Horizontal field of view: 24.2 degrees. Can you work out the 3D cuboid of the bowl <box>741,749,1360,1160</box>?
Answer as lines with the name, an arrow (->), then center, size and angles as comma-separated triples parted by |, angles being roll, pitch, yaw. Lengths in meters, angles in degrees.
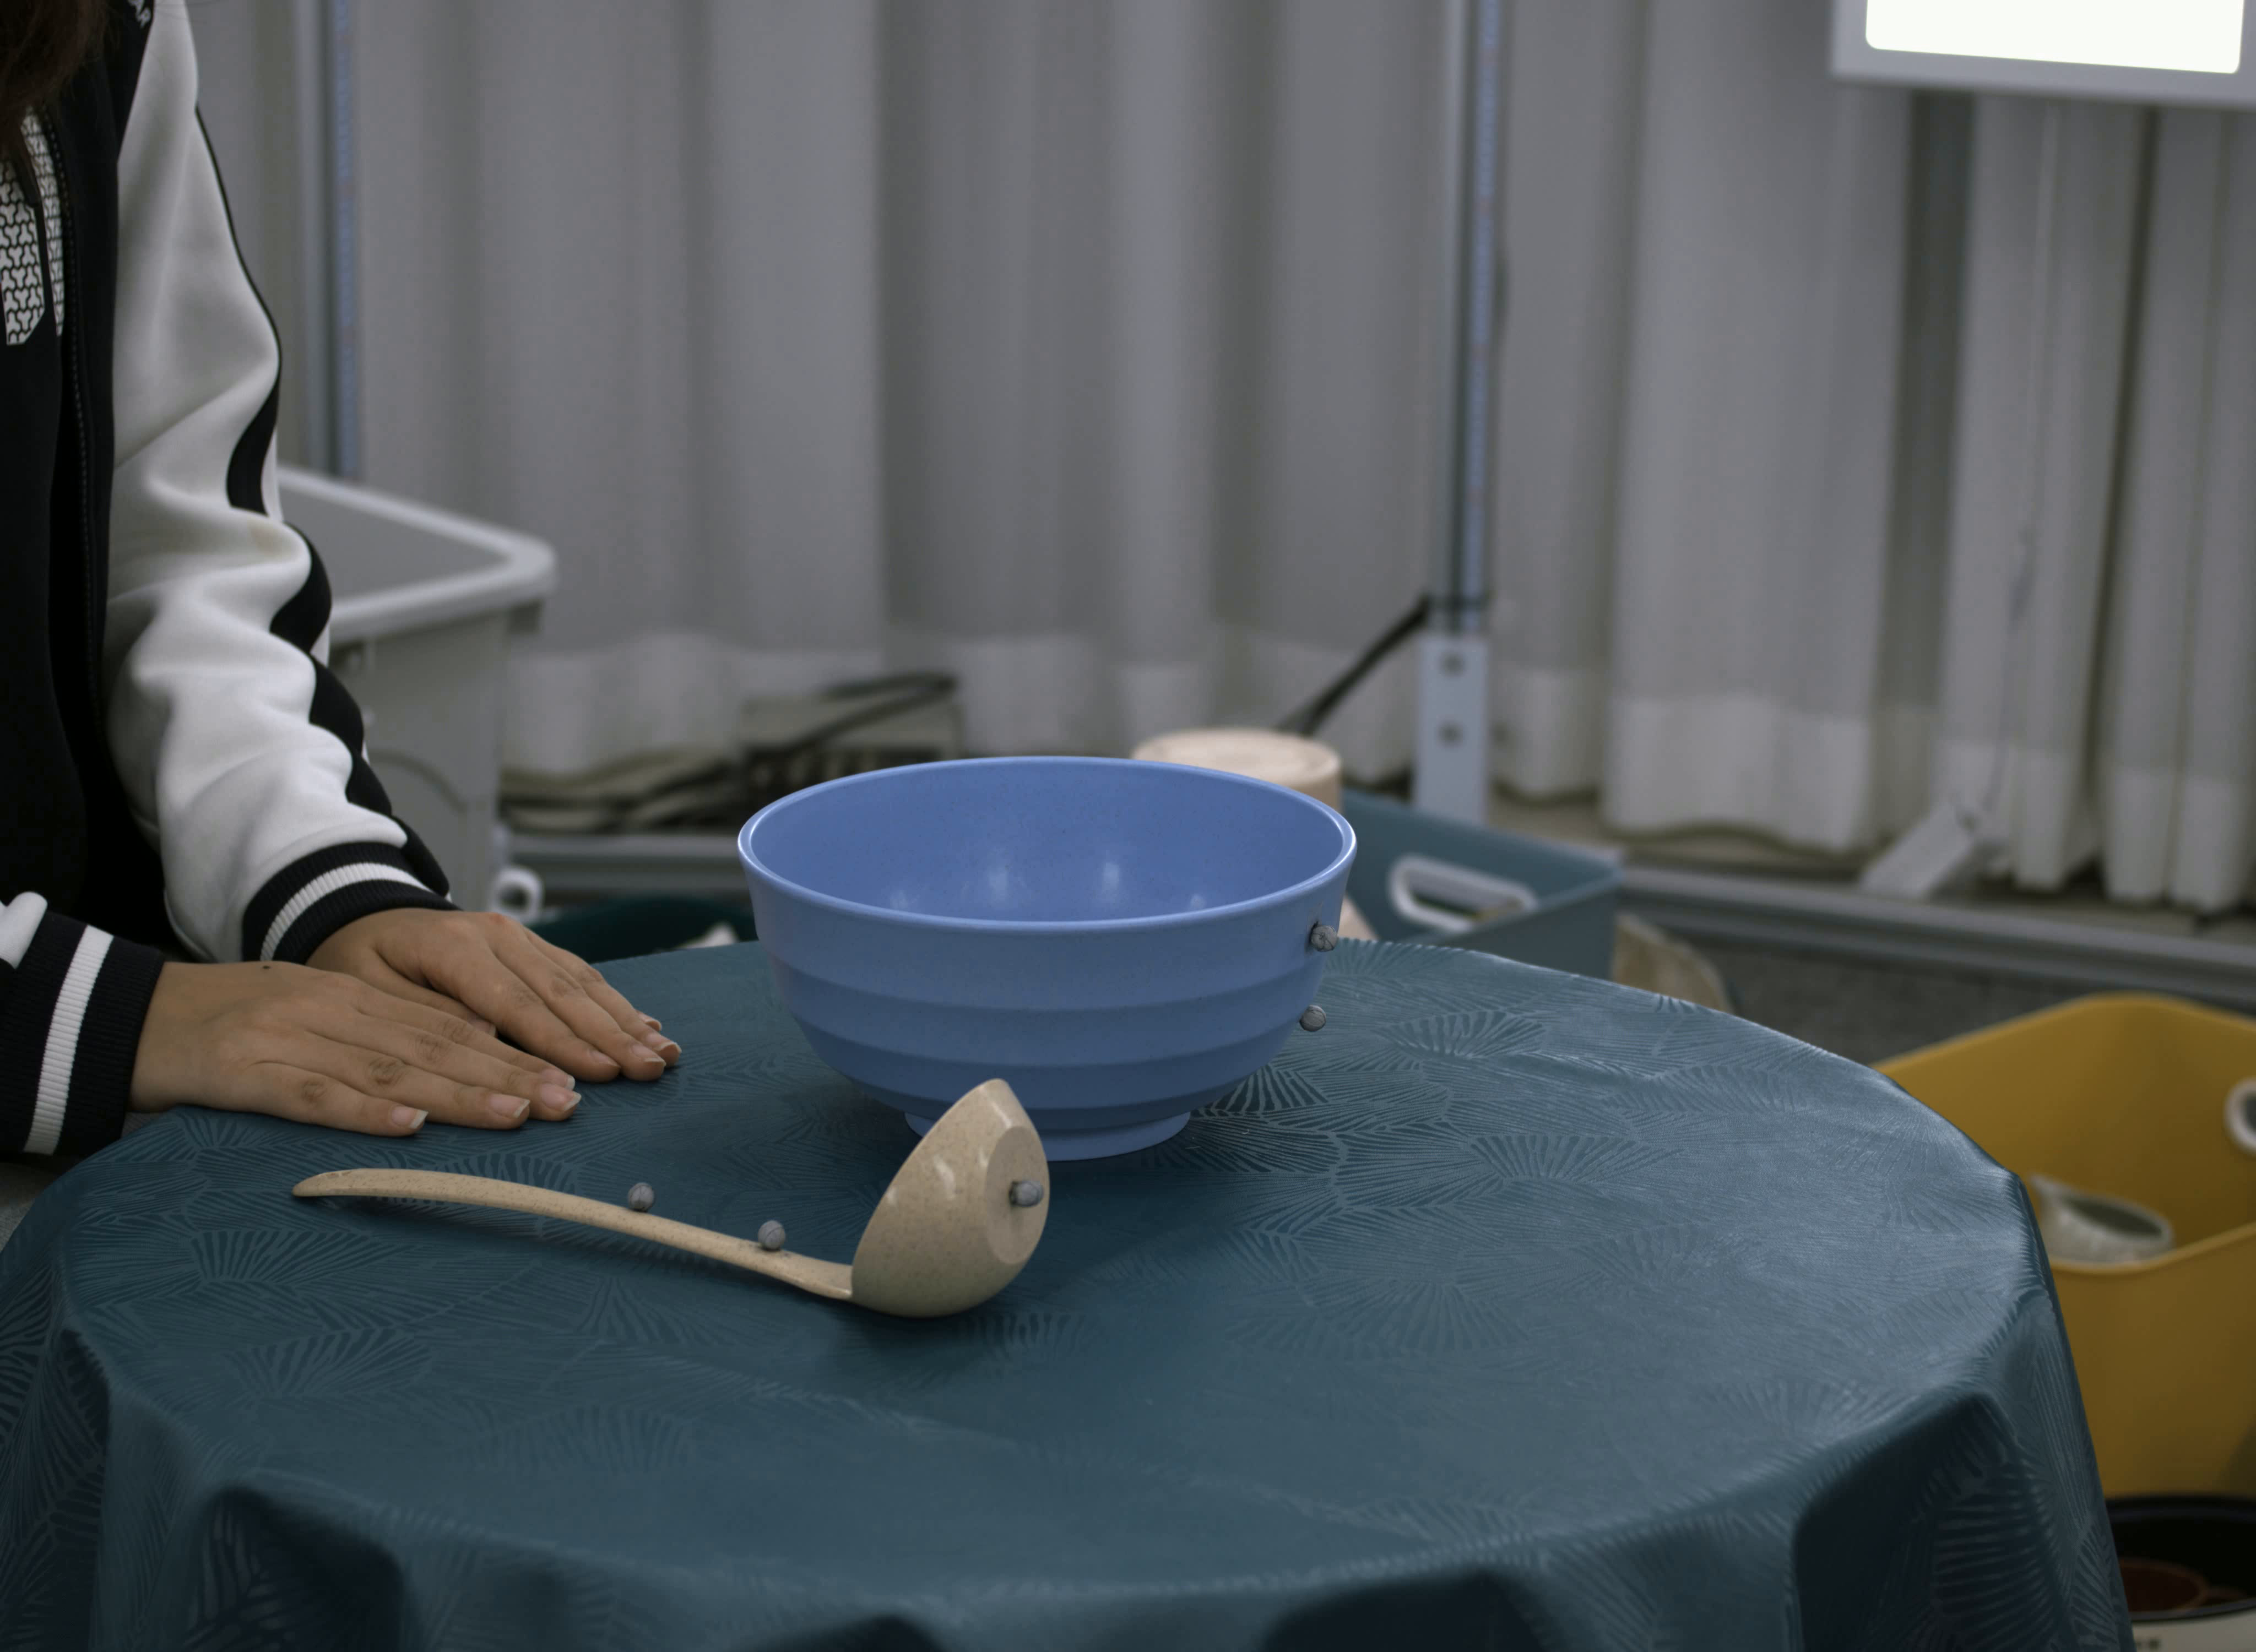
bowl -> -0.026, 0.047, 1.677 | 0.196, 0.096, 0.195 | 3, 16, 0

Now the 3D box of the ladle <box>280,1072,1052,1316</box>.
ladle -> -0.143, 0.093, 1.548 | 0.252, 0.073, 0.072 | 7, 16, 24
